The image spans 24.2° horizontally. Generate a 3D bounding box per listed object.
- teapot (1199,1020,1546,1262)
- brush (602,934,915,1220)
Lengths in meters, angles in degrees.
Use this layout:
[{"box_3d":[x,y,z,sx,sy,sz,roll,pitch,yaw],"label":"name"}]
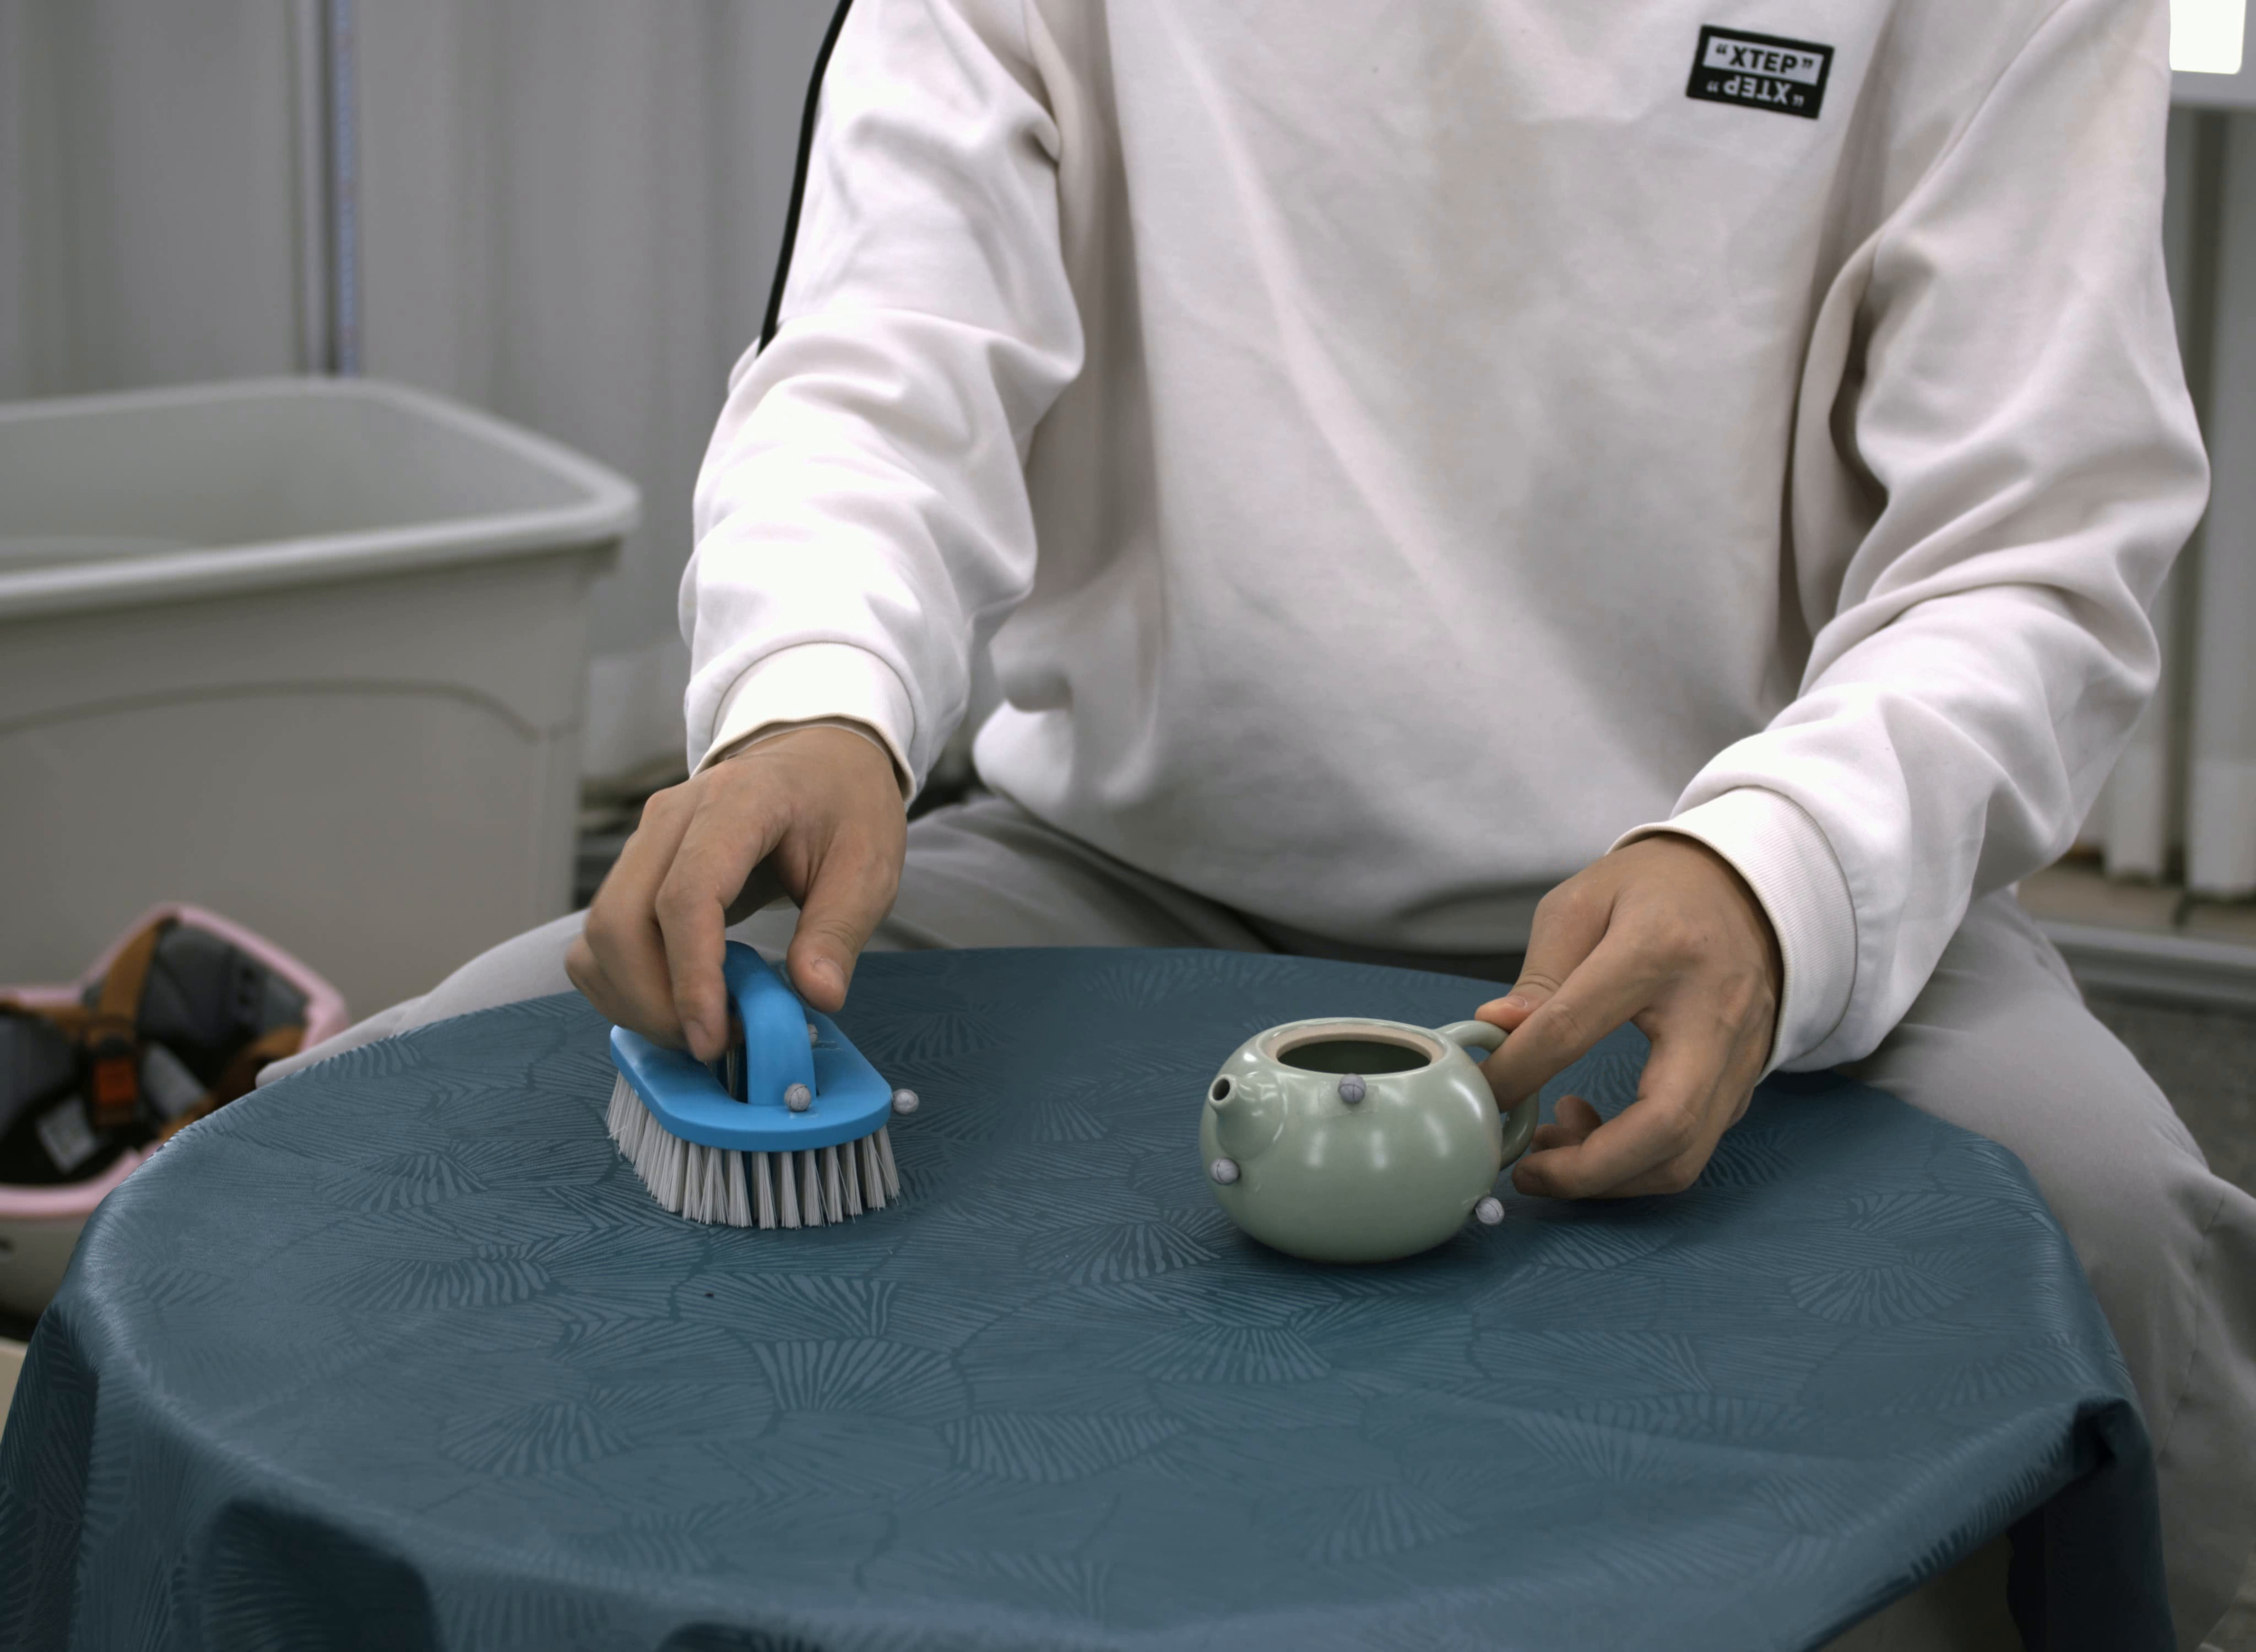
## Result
[{"box_3d":[0.075,0.094,1.591,0.129,0.061,0.090,-8,15,-34],"label":"teapot"},{"box_3d":[-0.119,0.072,1.647,0.084,0.064,0.140,-8,17,-15],"label":"brush"}]
